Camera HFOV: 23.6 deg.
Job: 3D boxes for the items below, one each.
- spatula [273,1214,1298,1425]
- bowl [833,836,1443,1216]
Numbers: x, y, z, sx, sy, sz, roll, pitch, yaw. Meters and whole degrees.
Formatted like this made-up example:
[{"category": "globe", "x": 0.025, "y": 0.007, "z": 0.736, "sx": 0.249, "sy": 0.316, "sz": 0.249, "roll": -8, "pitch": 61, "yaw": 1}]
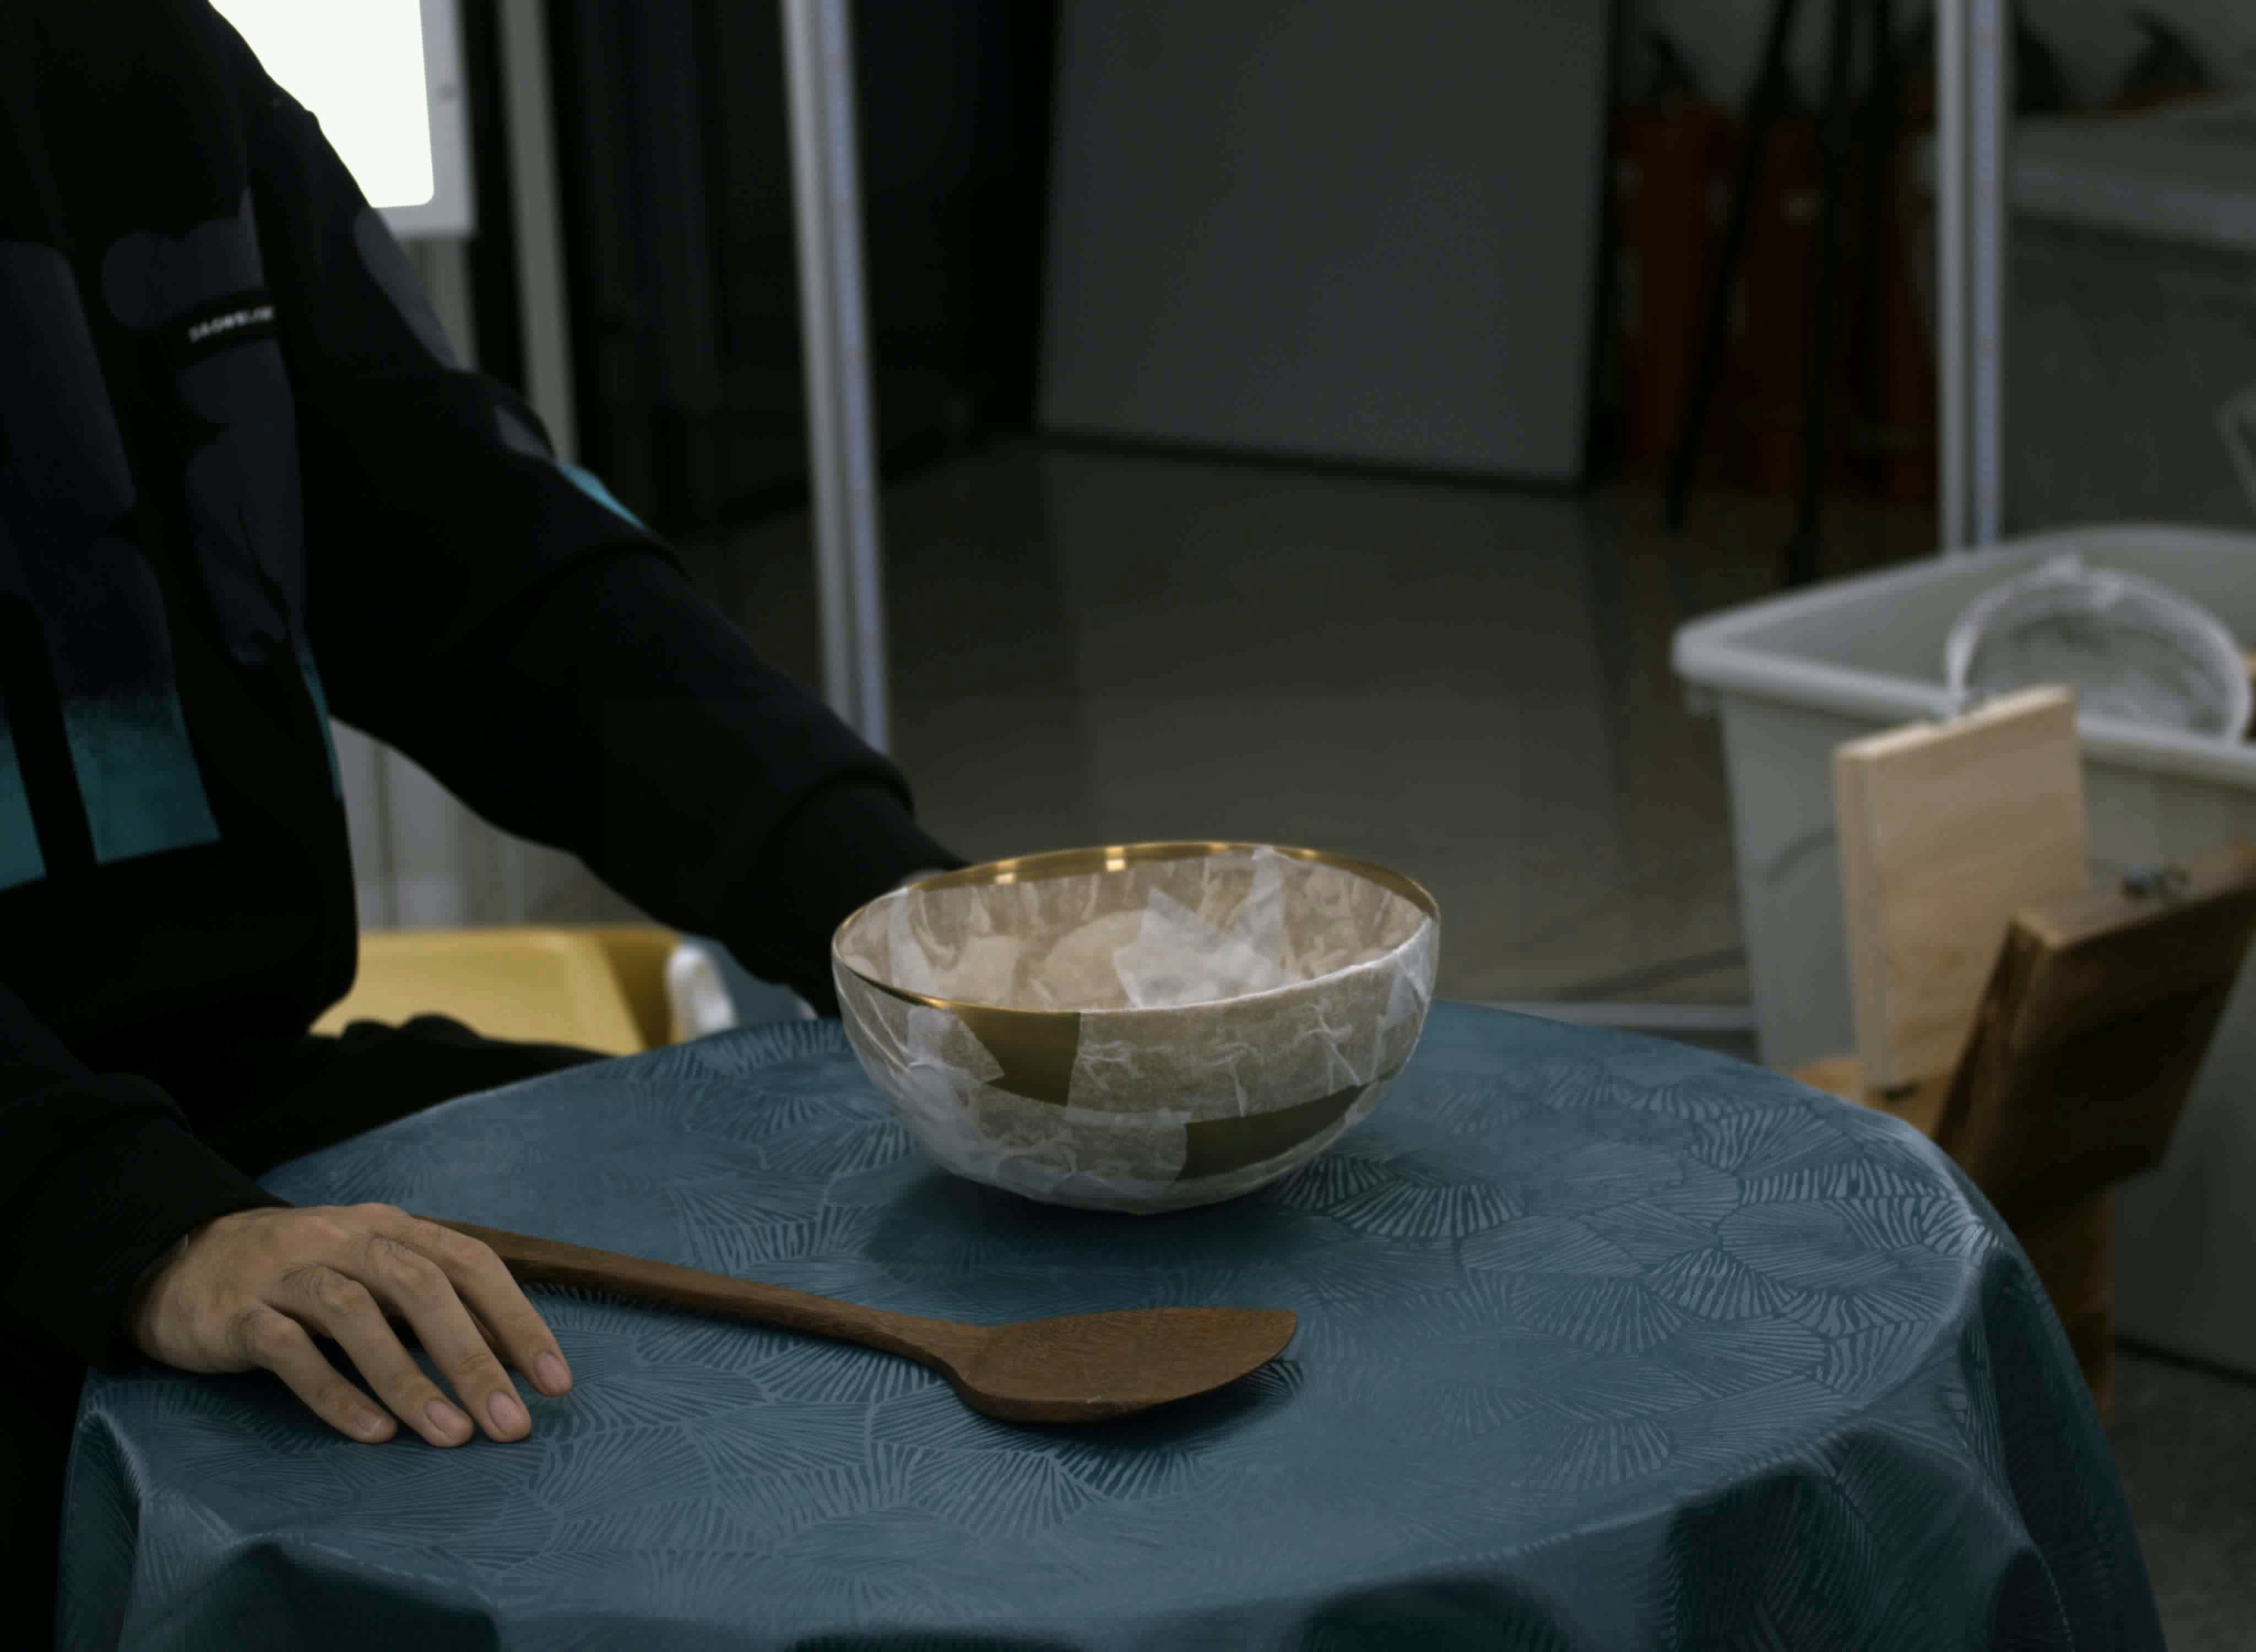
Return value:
[{"category": "spatula", "x": -0.121, "y": 0.148, "z": 1.671, "sx": 0.388, "sy": 0.016, "sz": 0.094, "roll": 6, "pitch": 16, "yaw": 35}, {"category": "bowl", "x": 0.005, "y": 0.072, "z": 1.771, "sx": 0.212, "sy": 0.095, "sz": 0.215, "roll": -5, "pitch": 14, "yaw": 0}]
